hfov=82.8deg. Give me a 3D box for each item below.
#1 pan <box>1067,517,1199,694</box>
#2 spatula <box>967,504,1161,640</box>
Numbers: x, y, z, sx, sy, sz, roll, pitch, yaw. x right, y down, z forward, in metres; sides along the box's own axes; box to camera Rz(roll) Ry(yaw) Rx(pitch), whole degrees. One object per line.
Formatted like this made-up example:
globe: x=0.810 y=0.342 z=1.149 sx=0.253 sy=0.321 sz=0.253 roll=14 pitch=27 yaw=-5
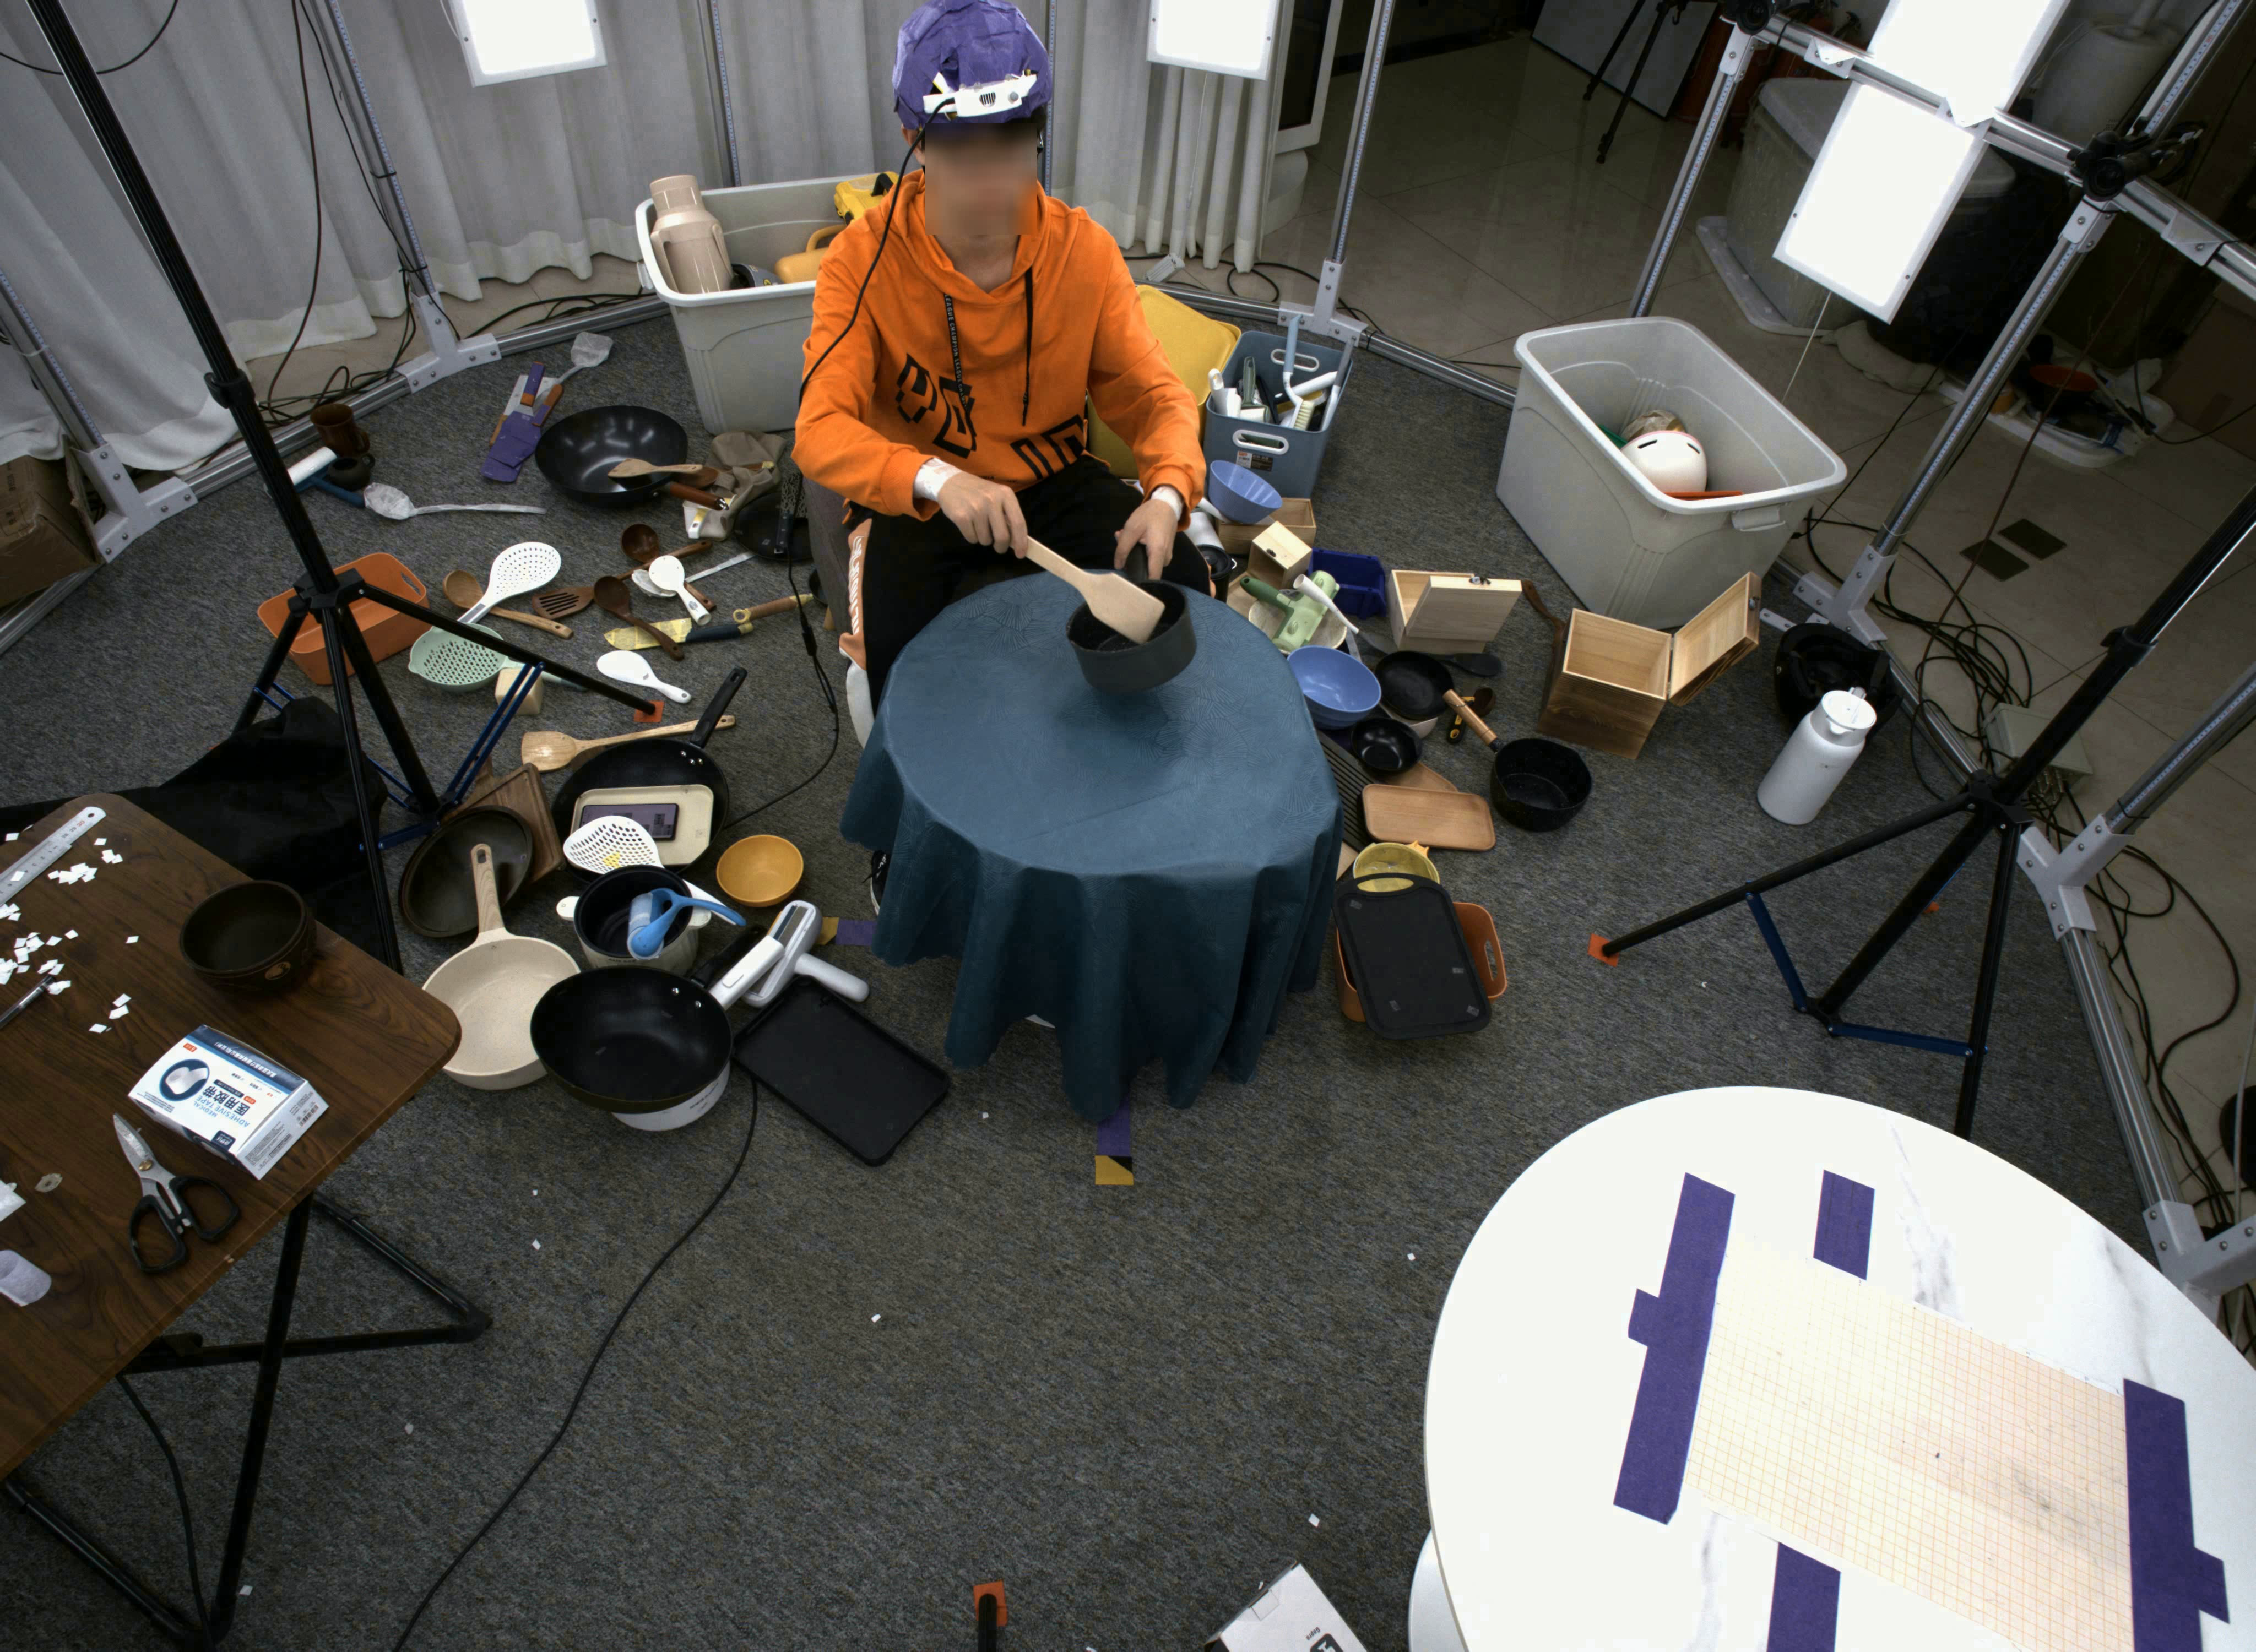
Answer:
pan: x=0.017 y=-0.314 z=1.813 sx=0.172 sy=0.084 sz=0.336 roll=-6 pitch=42 yaw=15
spatula: x=-0.091 y=-0.349 z=1.724 sx=0.294 sy=0.071 sz=0.011 roll=32 pitch=37 yaw=7
